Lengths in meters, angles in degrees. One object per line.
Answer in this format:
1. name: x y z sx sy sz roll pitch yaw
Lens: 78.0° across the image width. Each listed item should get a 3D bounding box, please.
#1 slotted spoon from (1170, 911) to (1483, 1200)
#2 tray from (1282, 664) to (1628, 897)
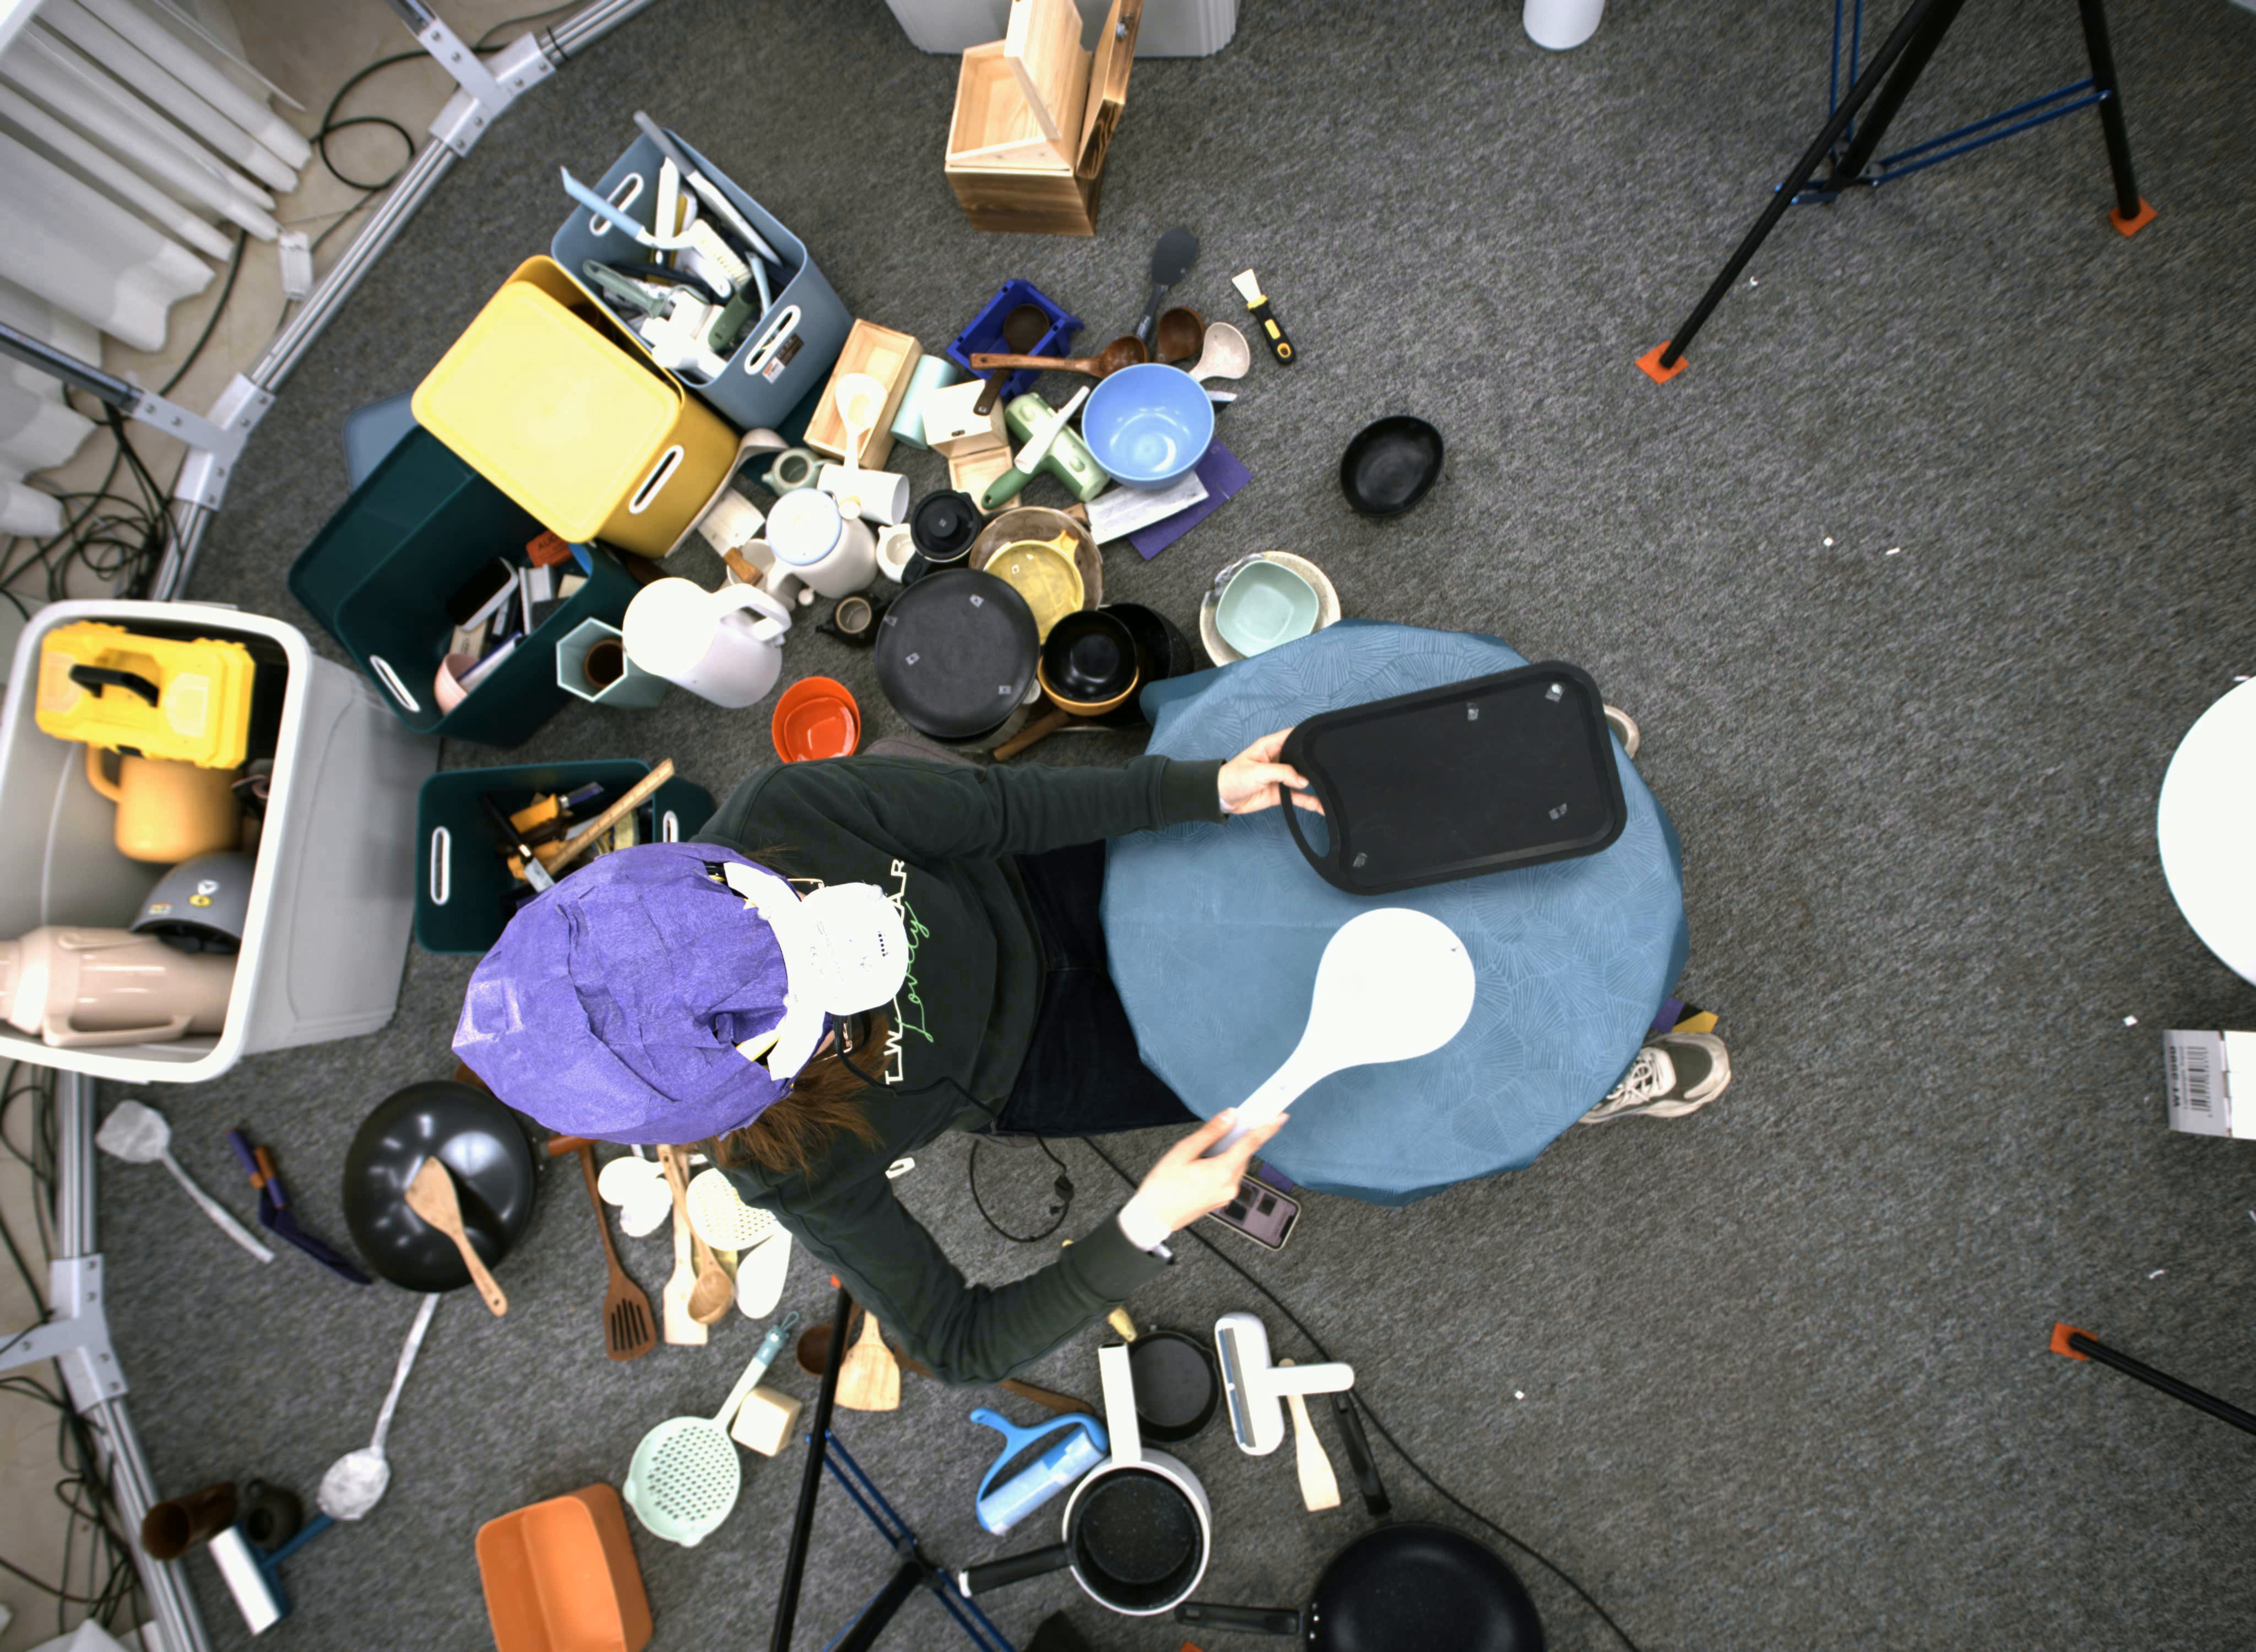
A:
1. slotted spoon: 0.176 0.218 1.275 0.348 0.046 0.135 -41 74 -5
2. tray: 0.314 -0.037 1.352 0.328 0.009 0.214 -12 115 21
